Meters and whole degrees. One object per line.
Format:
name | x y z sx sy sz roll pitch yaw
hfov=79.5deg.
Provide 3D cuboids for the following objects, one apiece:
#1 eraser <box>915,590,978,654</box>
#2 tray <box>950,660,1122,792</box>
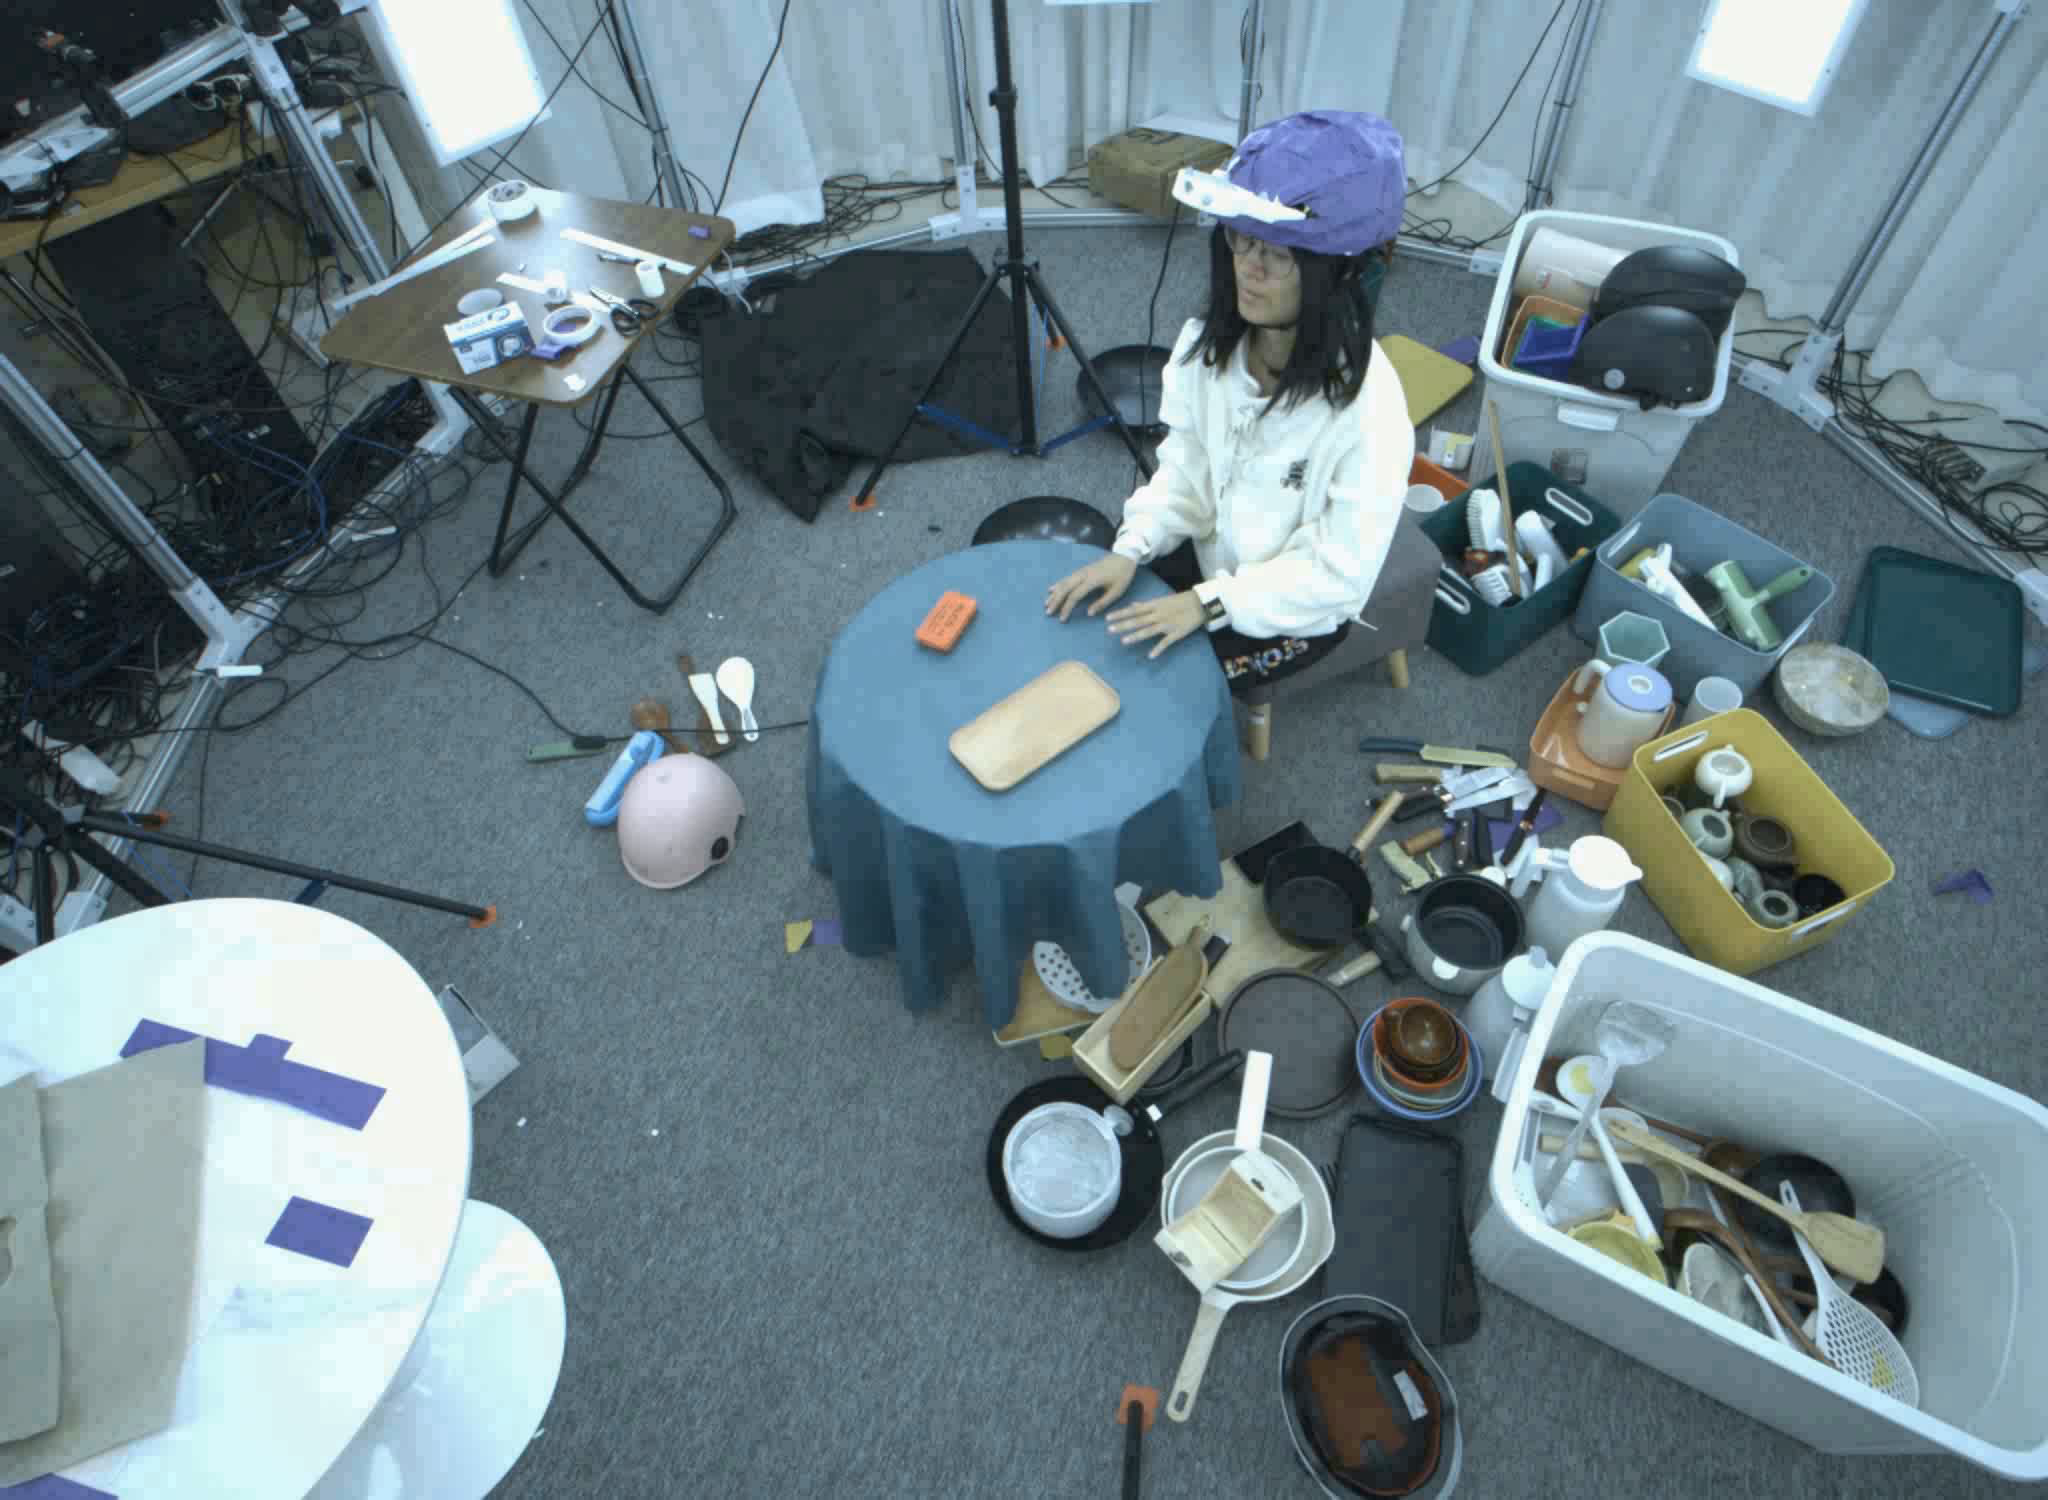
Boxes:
eraser | -0.122 -0.201 1.920 0.058 0.023 0.108 22 59 18
tray | 0.018 -0.037 1.802 0.253 0.023 0.128 -33 63 -20
